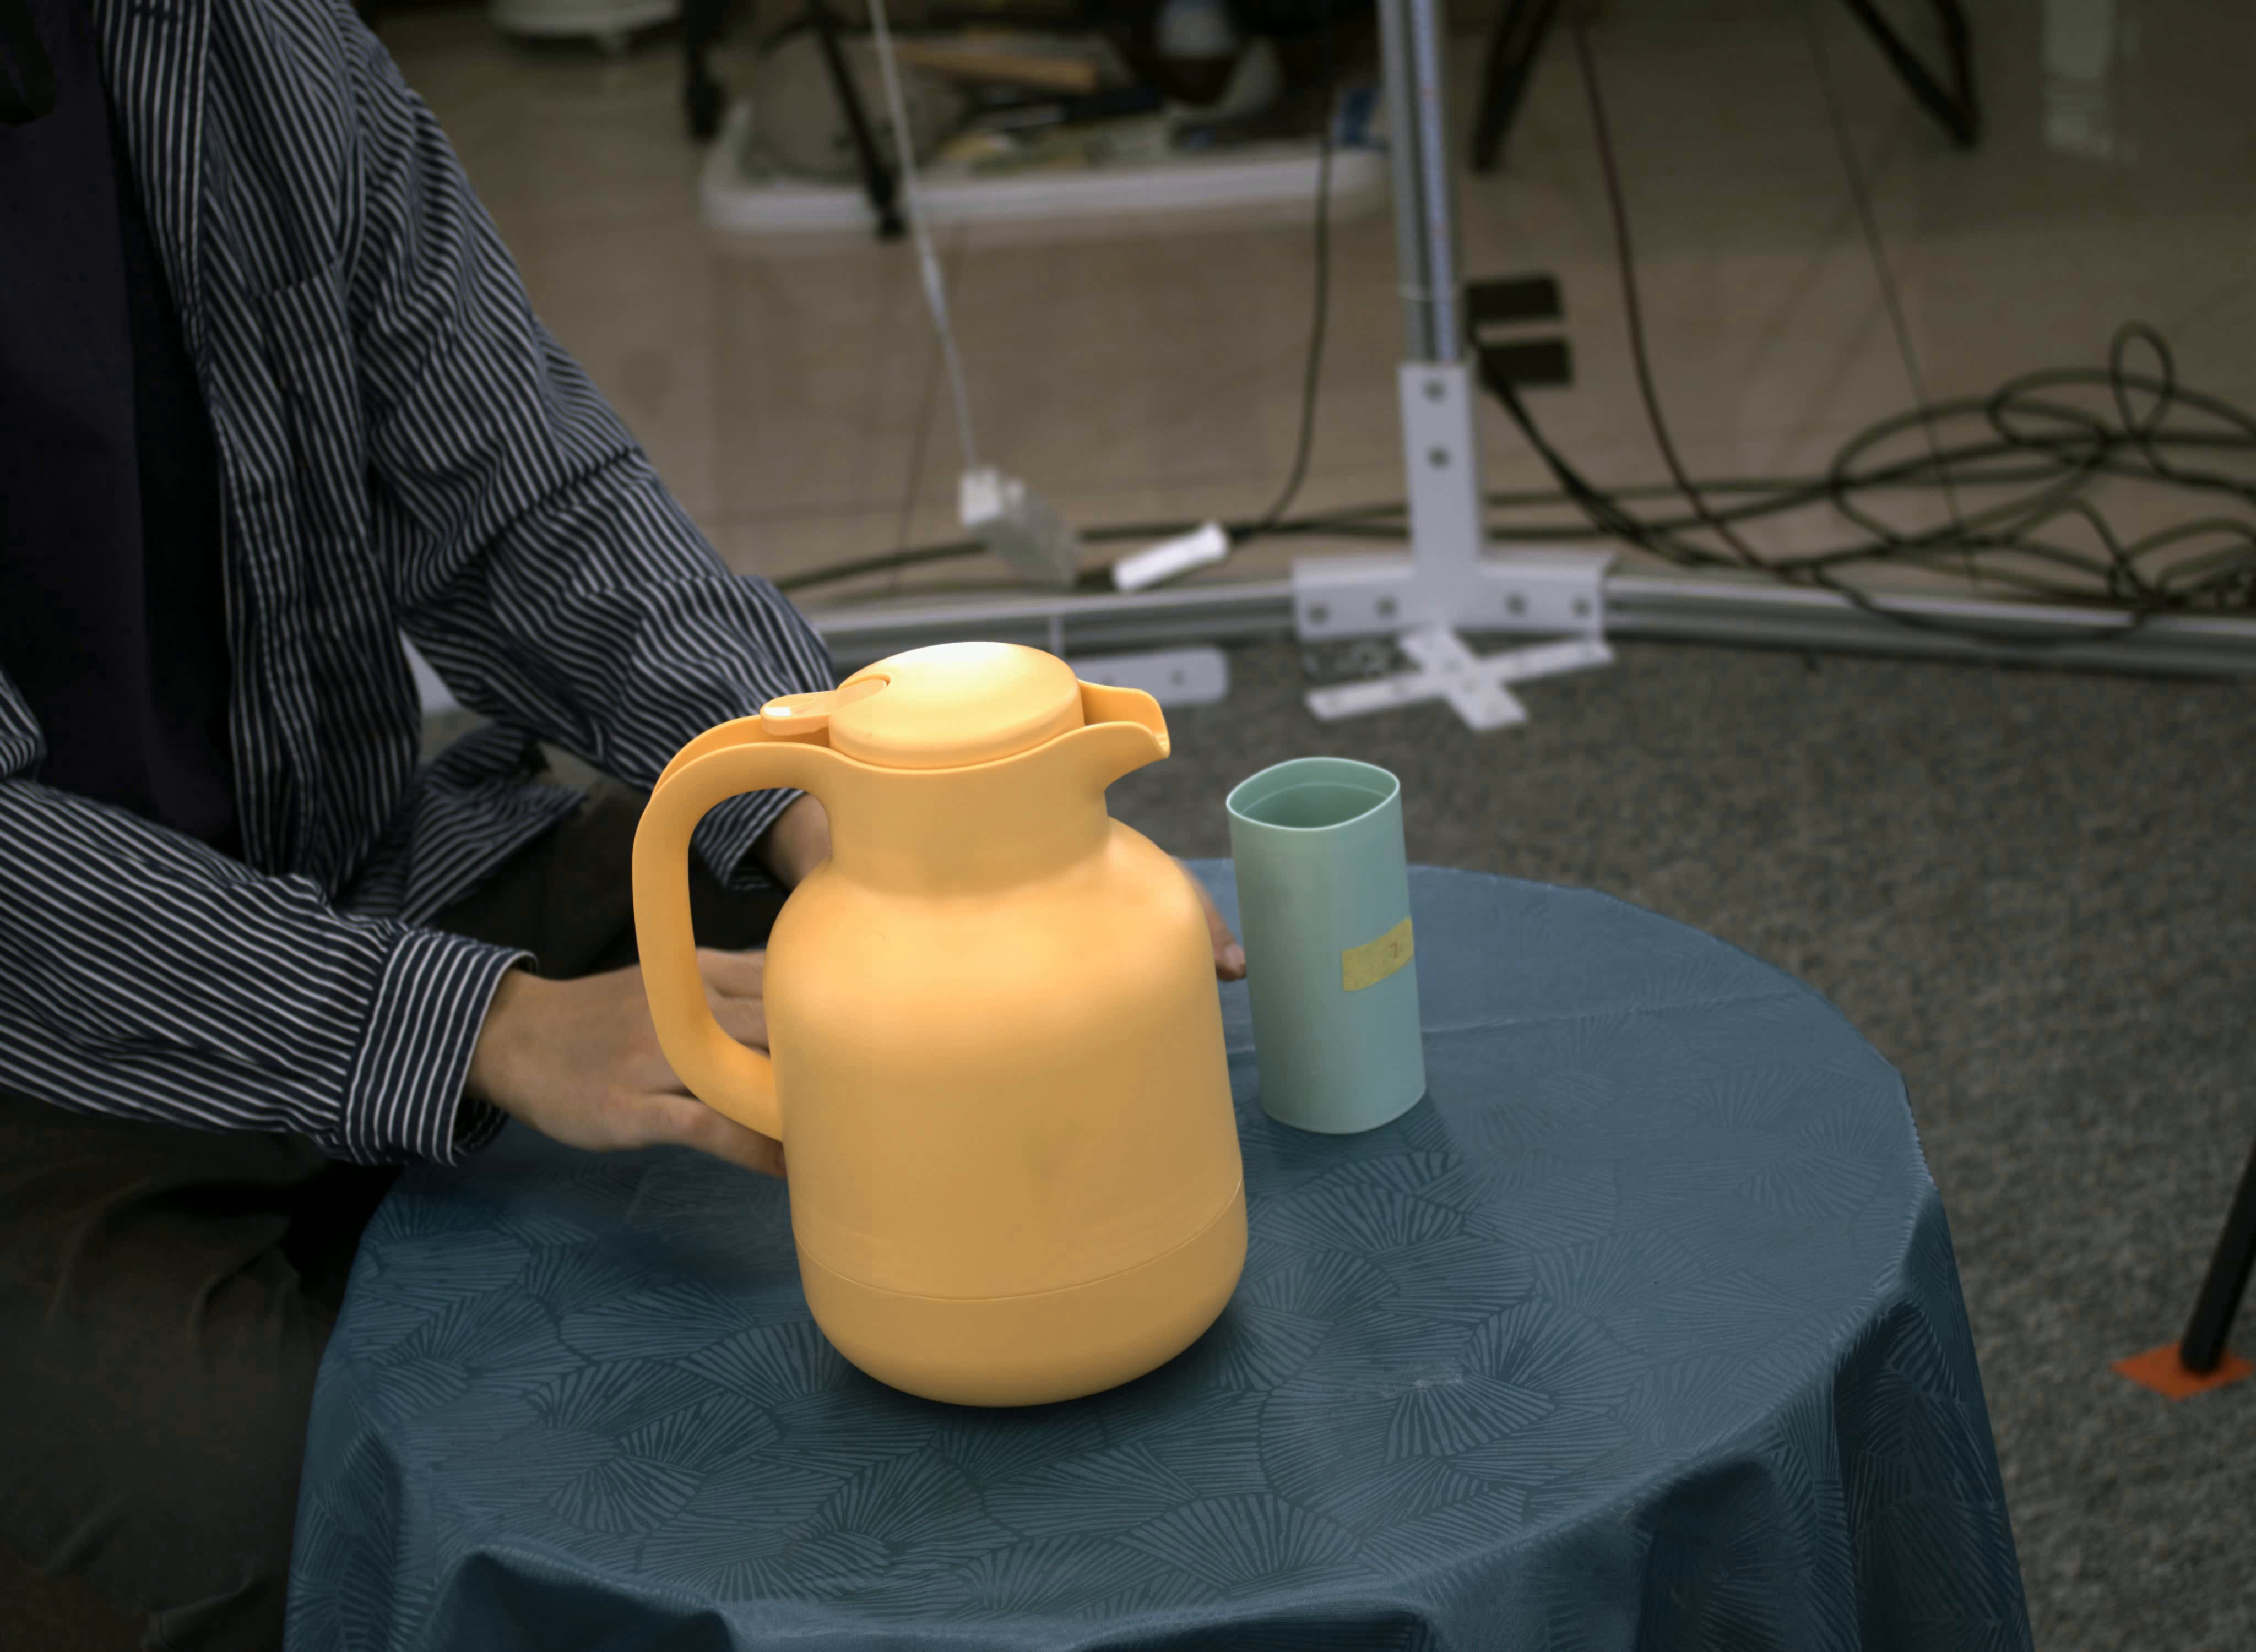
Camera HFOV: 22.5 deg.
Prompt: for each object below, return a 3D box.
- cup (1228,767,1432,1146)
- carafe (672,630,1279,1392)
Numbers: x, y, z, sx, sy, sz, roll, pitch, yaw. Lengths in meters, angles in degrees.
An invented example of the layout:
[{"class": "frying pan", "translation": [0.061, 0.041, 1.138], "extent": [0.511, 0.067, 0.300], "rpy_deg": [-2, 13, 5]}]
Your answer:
[{"class": "cup", "translation": [0.077, 0.050, 2.175], "extent": [0.066, 0.134, 0.066], "rpy_deg": [-6, 26, 3]}, {"class": "carafe", "translation": [-0.055, 0.062, 2.019], "extent": [0.202, 0.264, 0.161], "rpy_deg": [-4, 25, 6]}]
